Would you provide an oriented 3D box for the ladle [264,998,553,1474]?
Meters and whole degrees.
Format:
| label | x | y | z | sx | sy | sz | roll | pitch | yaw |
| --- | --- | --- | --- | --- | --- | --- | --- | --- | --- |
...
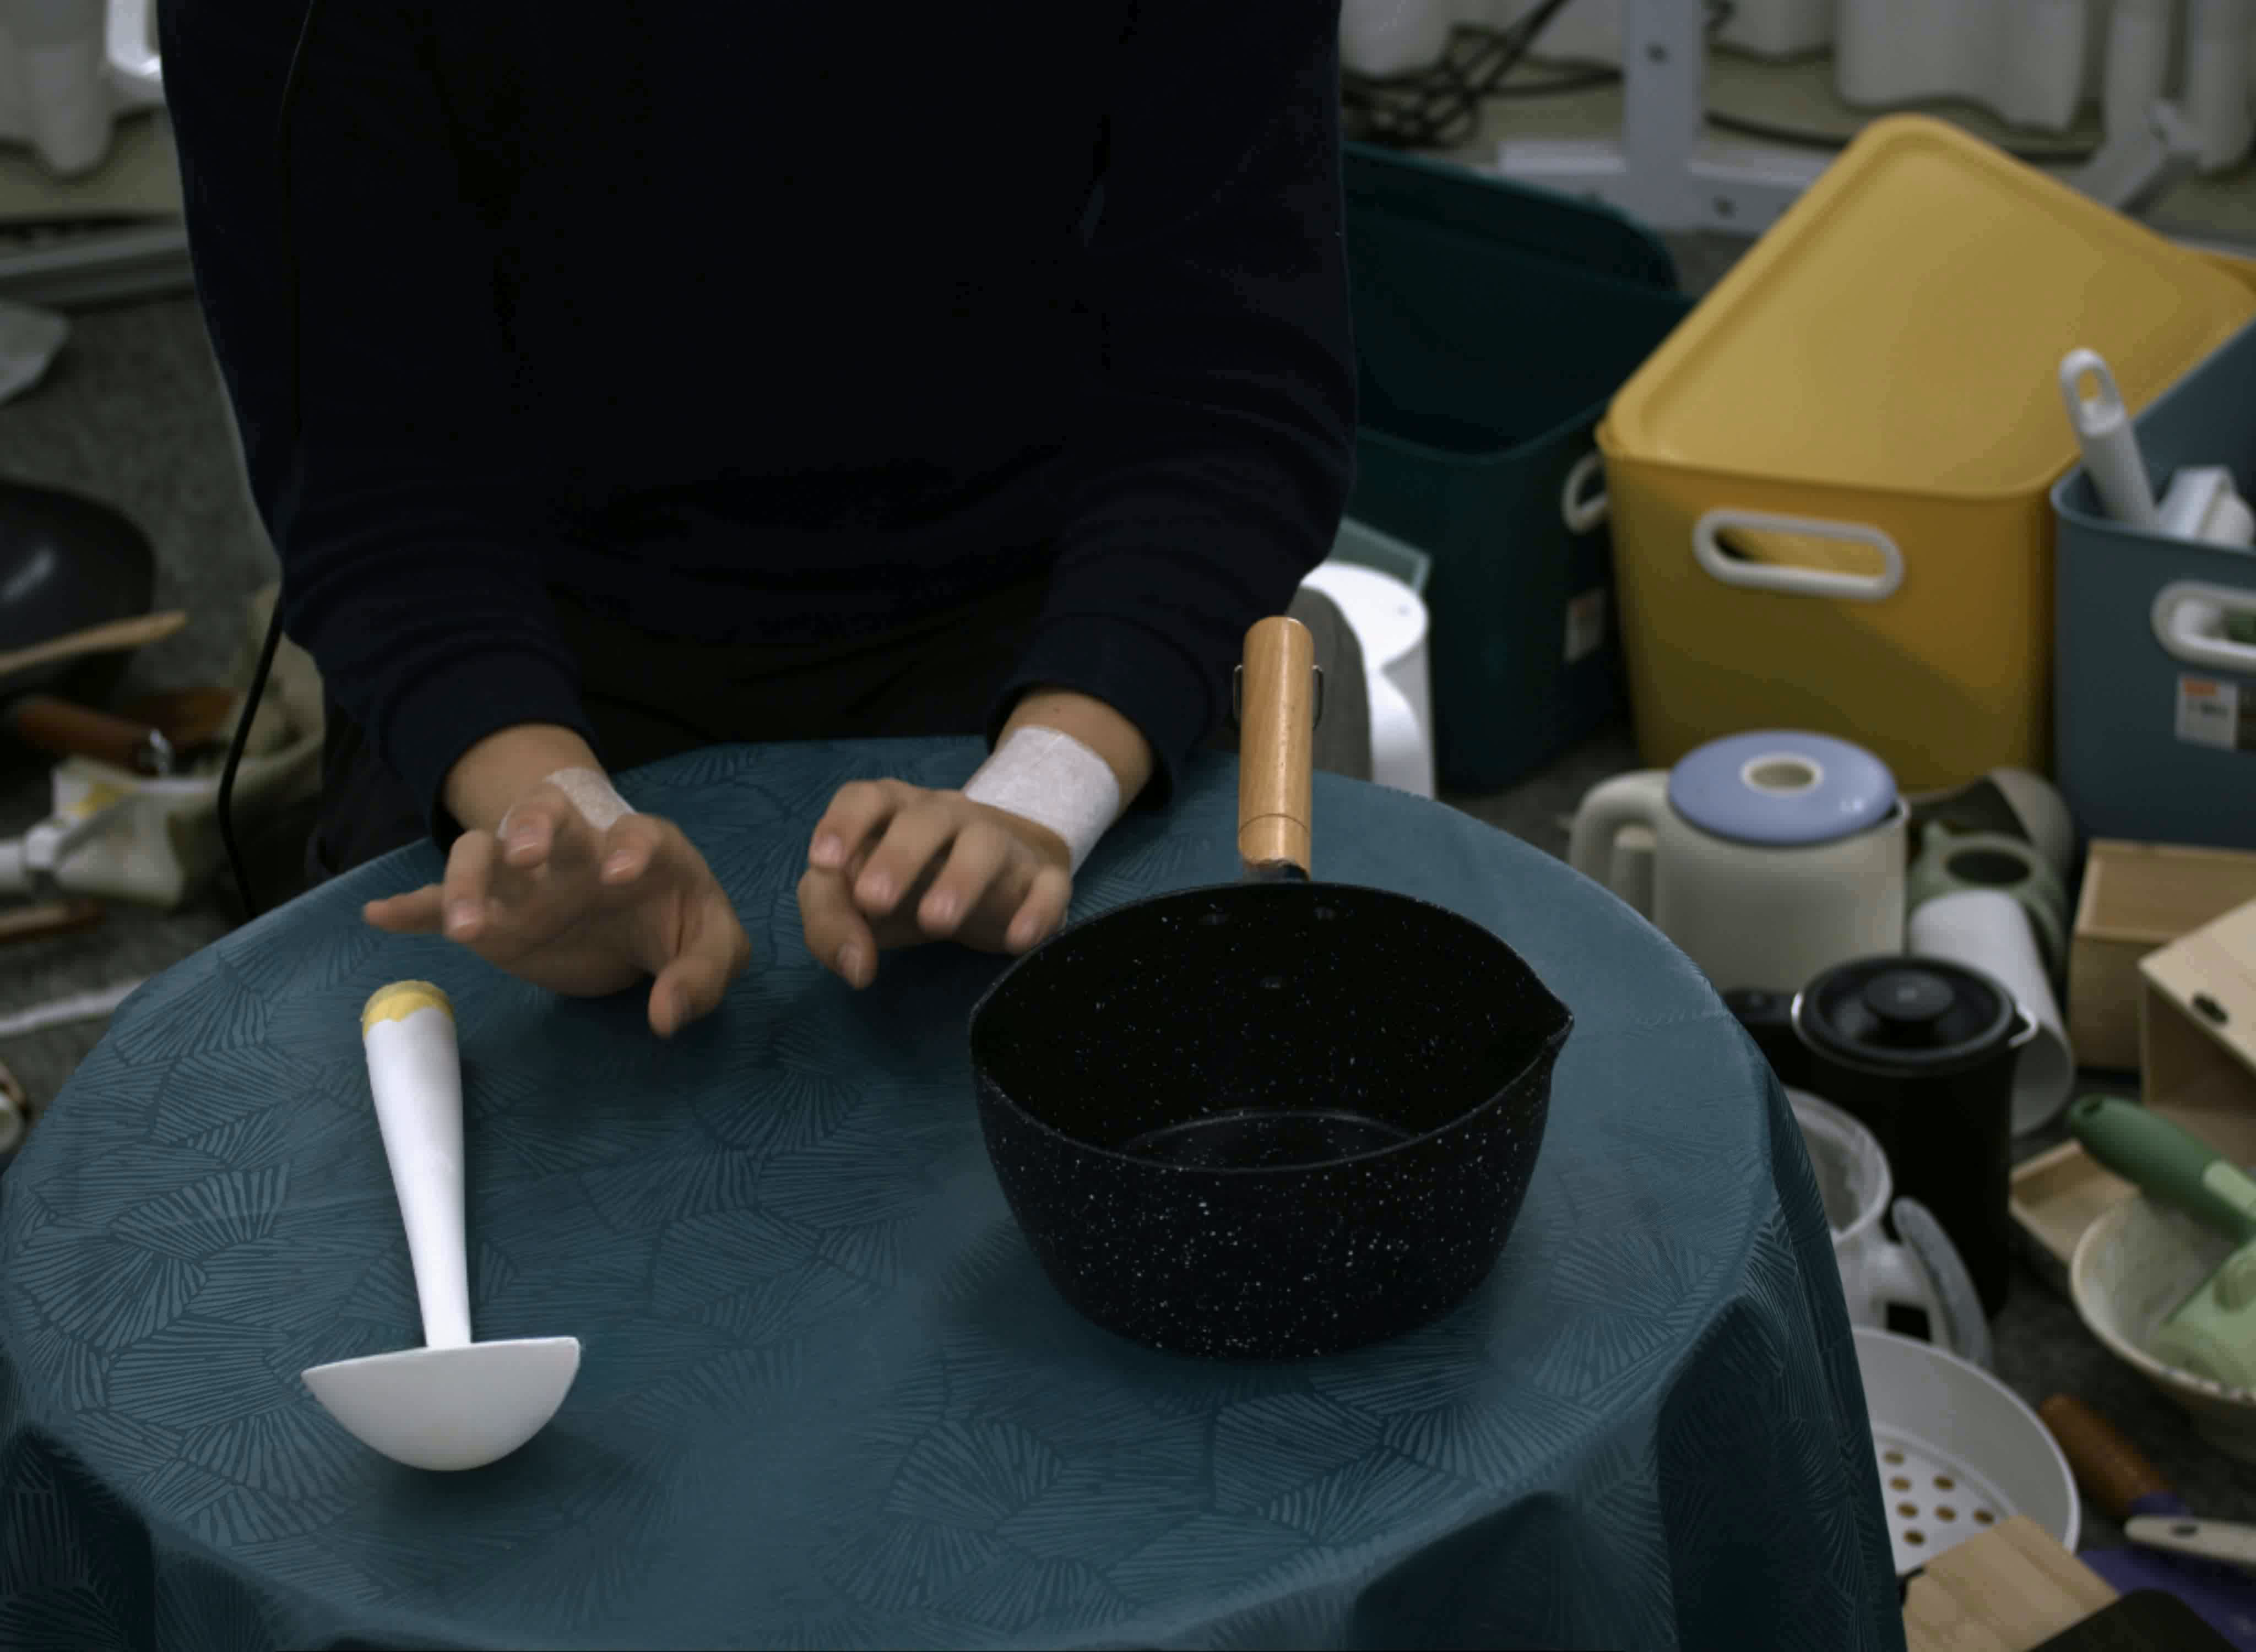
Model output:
| label | x | y | z | sx | sy | sz | roll | pitch | yaw |
| --- | --- | --- | --- | --- | --- | --- | --- | --- | --- |
| ladle | -0.233 | 0.121 | 1.819 | 0.090 | 0.069 | 0.296 | -12 | 27 | -3 |

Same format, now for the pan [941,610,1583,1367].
| label | x | y | z | sx | sy | sz | roll | pitch | yaw |
| --- | --- | --- | --- | --- | --- | --- | --- | --- | --- |
| pan | 0.046 | 0.051 | 1.878 | 0.206 | 0.107 | 0.348 | -3 | 28 | 3 |
